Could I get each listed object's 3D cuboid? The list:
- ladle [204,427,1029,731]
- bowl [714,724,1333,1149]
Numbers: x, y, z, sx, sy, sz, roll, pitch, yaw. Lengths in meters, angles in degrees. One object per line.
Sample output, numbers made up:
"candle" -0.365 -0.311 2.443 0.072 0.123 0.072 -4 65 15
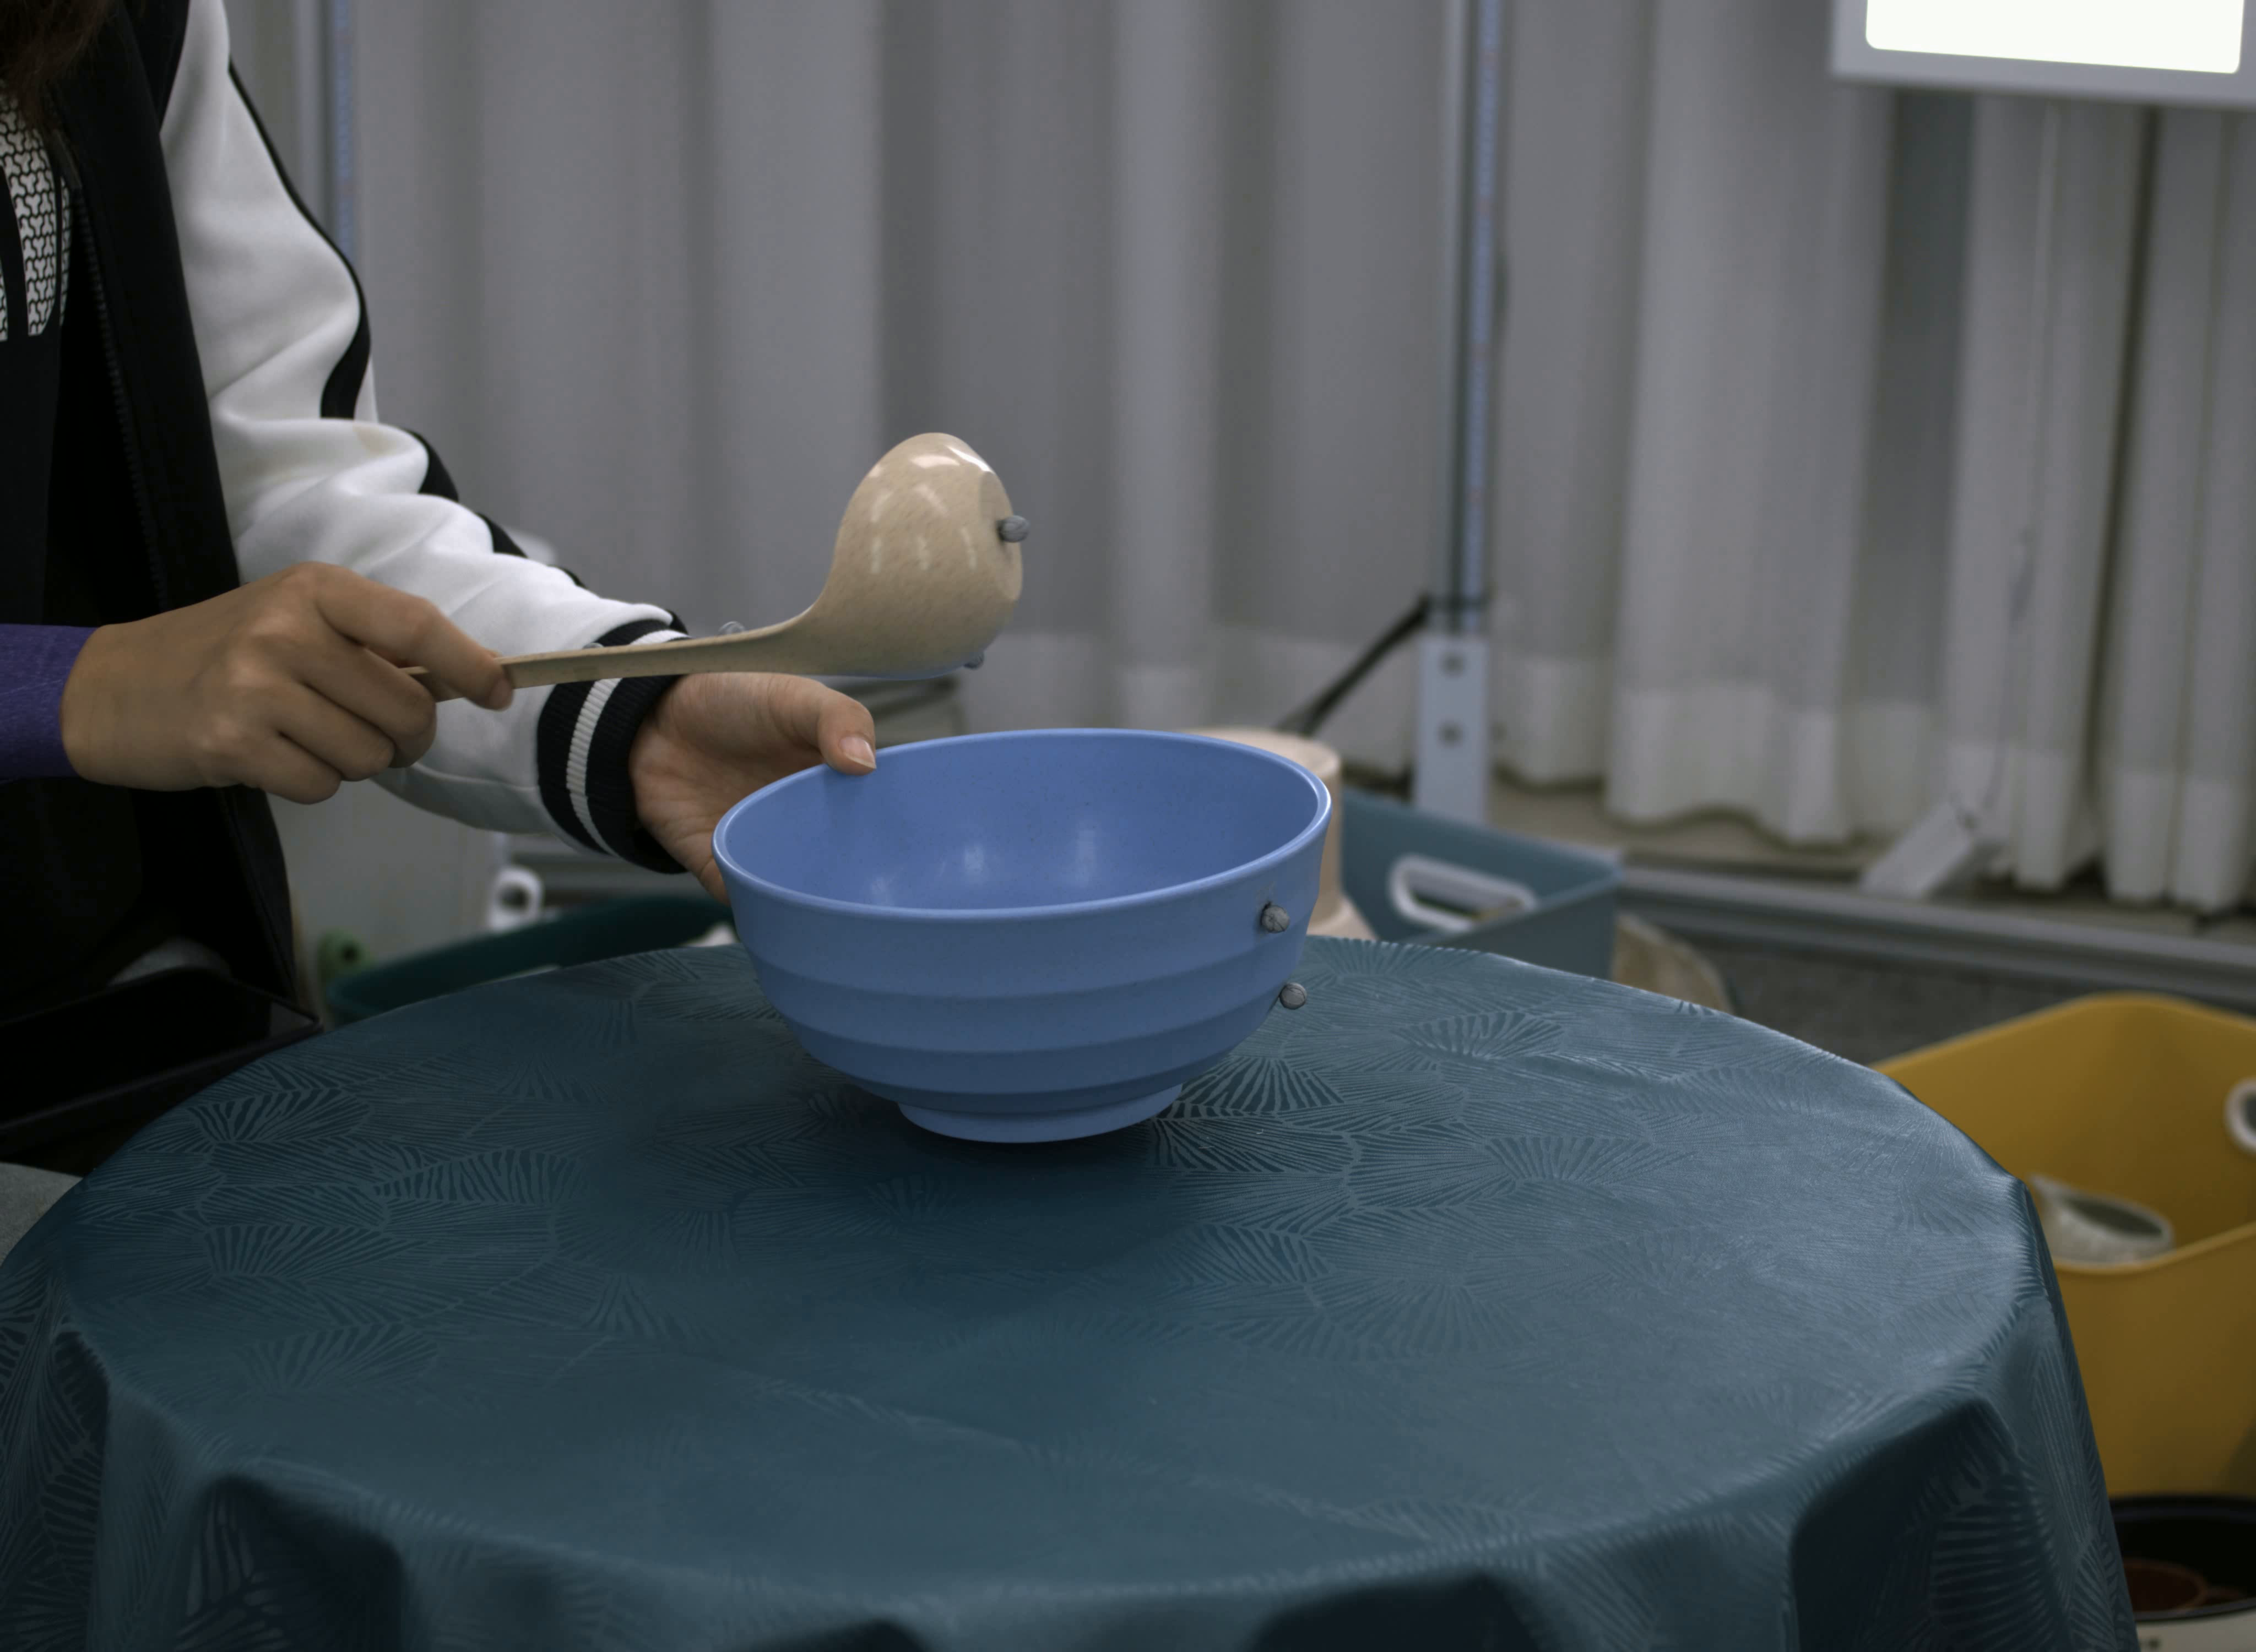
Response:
"ladle" -0.155 -0.071 1.588 0.252 0.073 0.072 -6 43 15
"bowl" -0.030 0.042 1.673 0.196 0.096 0.195 -3 19 2
